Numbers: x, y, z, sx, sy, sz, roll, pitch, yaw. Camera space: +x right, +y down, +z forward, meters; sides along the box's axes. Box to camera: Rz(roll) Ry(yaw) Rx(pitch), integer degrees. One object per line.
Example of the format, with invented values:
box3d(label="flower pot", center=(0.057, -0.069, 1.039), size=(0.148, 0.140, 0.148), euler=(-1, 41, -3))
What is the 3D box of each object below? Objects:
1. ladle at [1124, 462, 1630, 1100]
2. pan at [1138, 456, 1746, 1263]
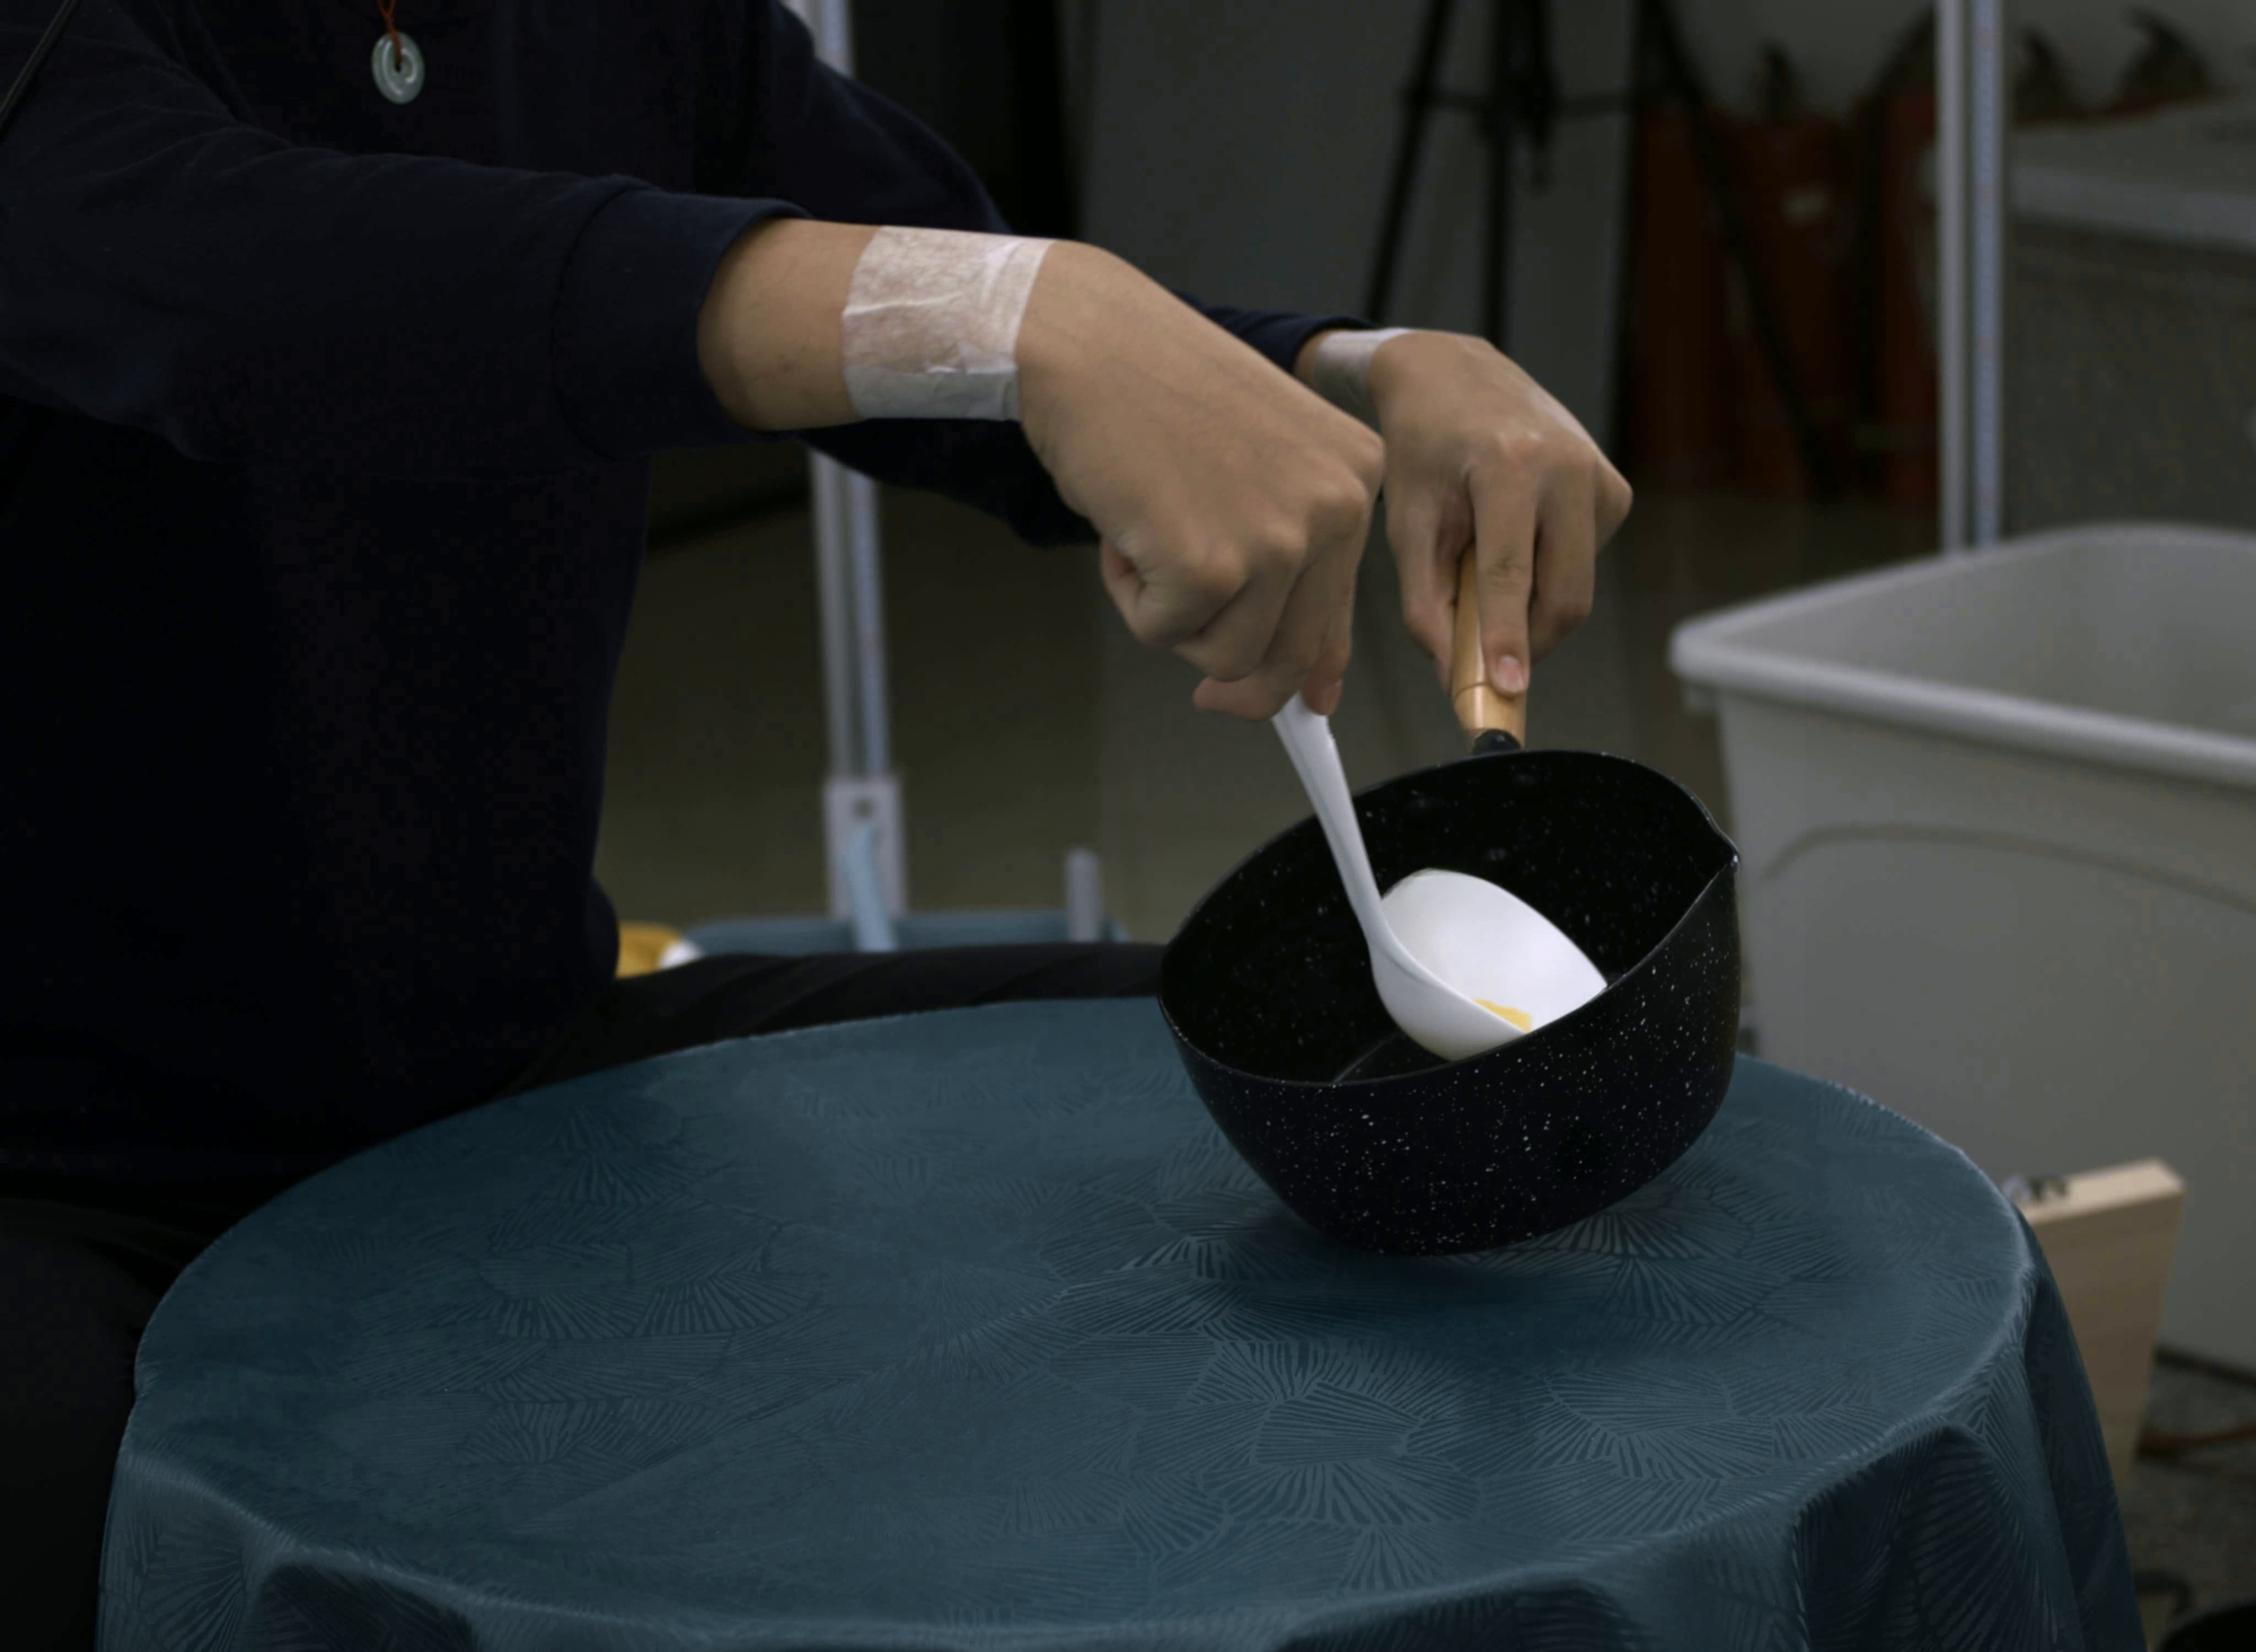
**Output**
box3d(label="ladle", center=(0.077, -0.013, 1.565), size=(0.069, 0.291, 0.091), euler=(-25, 49, 5))
box3d(label="pan", center=(0.116, 0.007, 1.777), size=(0.207, 0.108, 0.343), euler=(-14, 30, 18))
